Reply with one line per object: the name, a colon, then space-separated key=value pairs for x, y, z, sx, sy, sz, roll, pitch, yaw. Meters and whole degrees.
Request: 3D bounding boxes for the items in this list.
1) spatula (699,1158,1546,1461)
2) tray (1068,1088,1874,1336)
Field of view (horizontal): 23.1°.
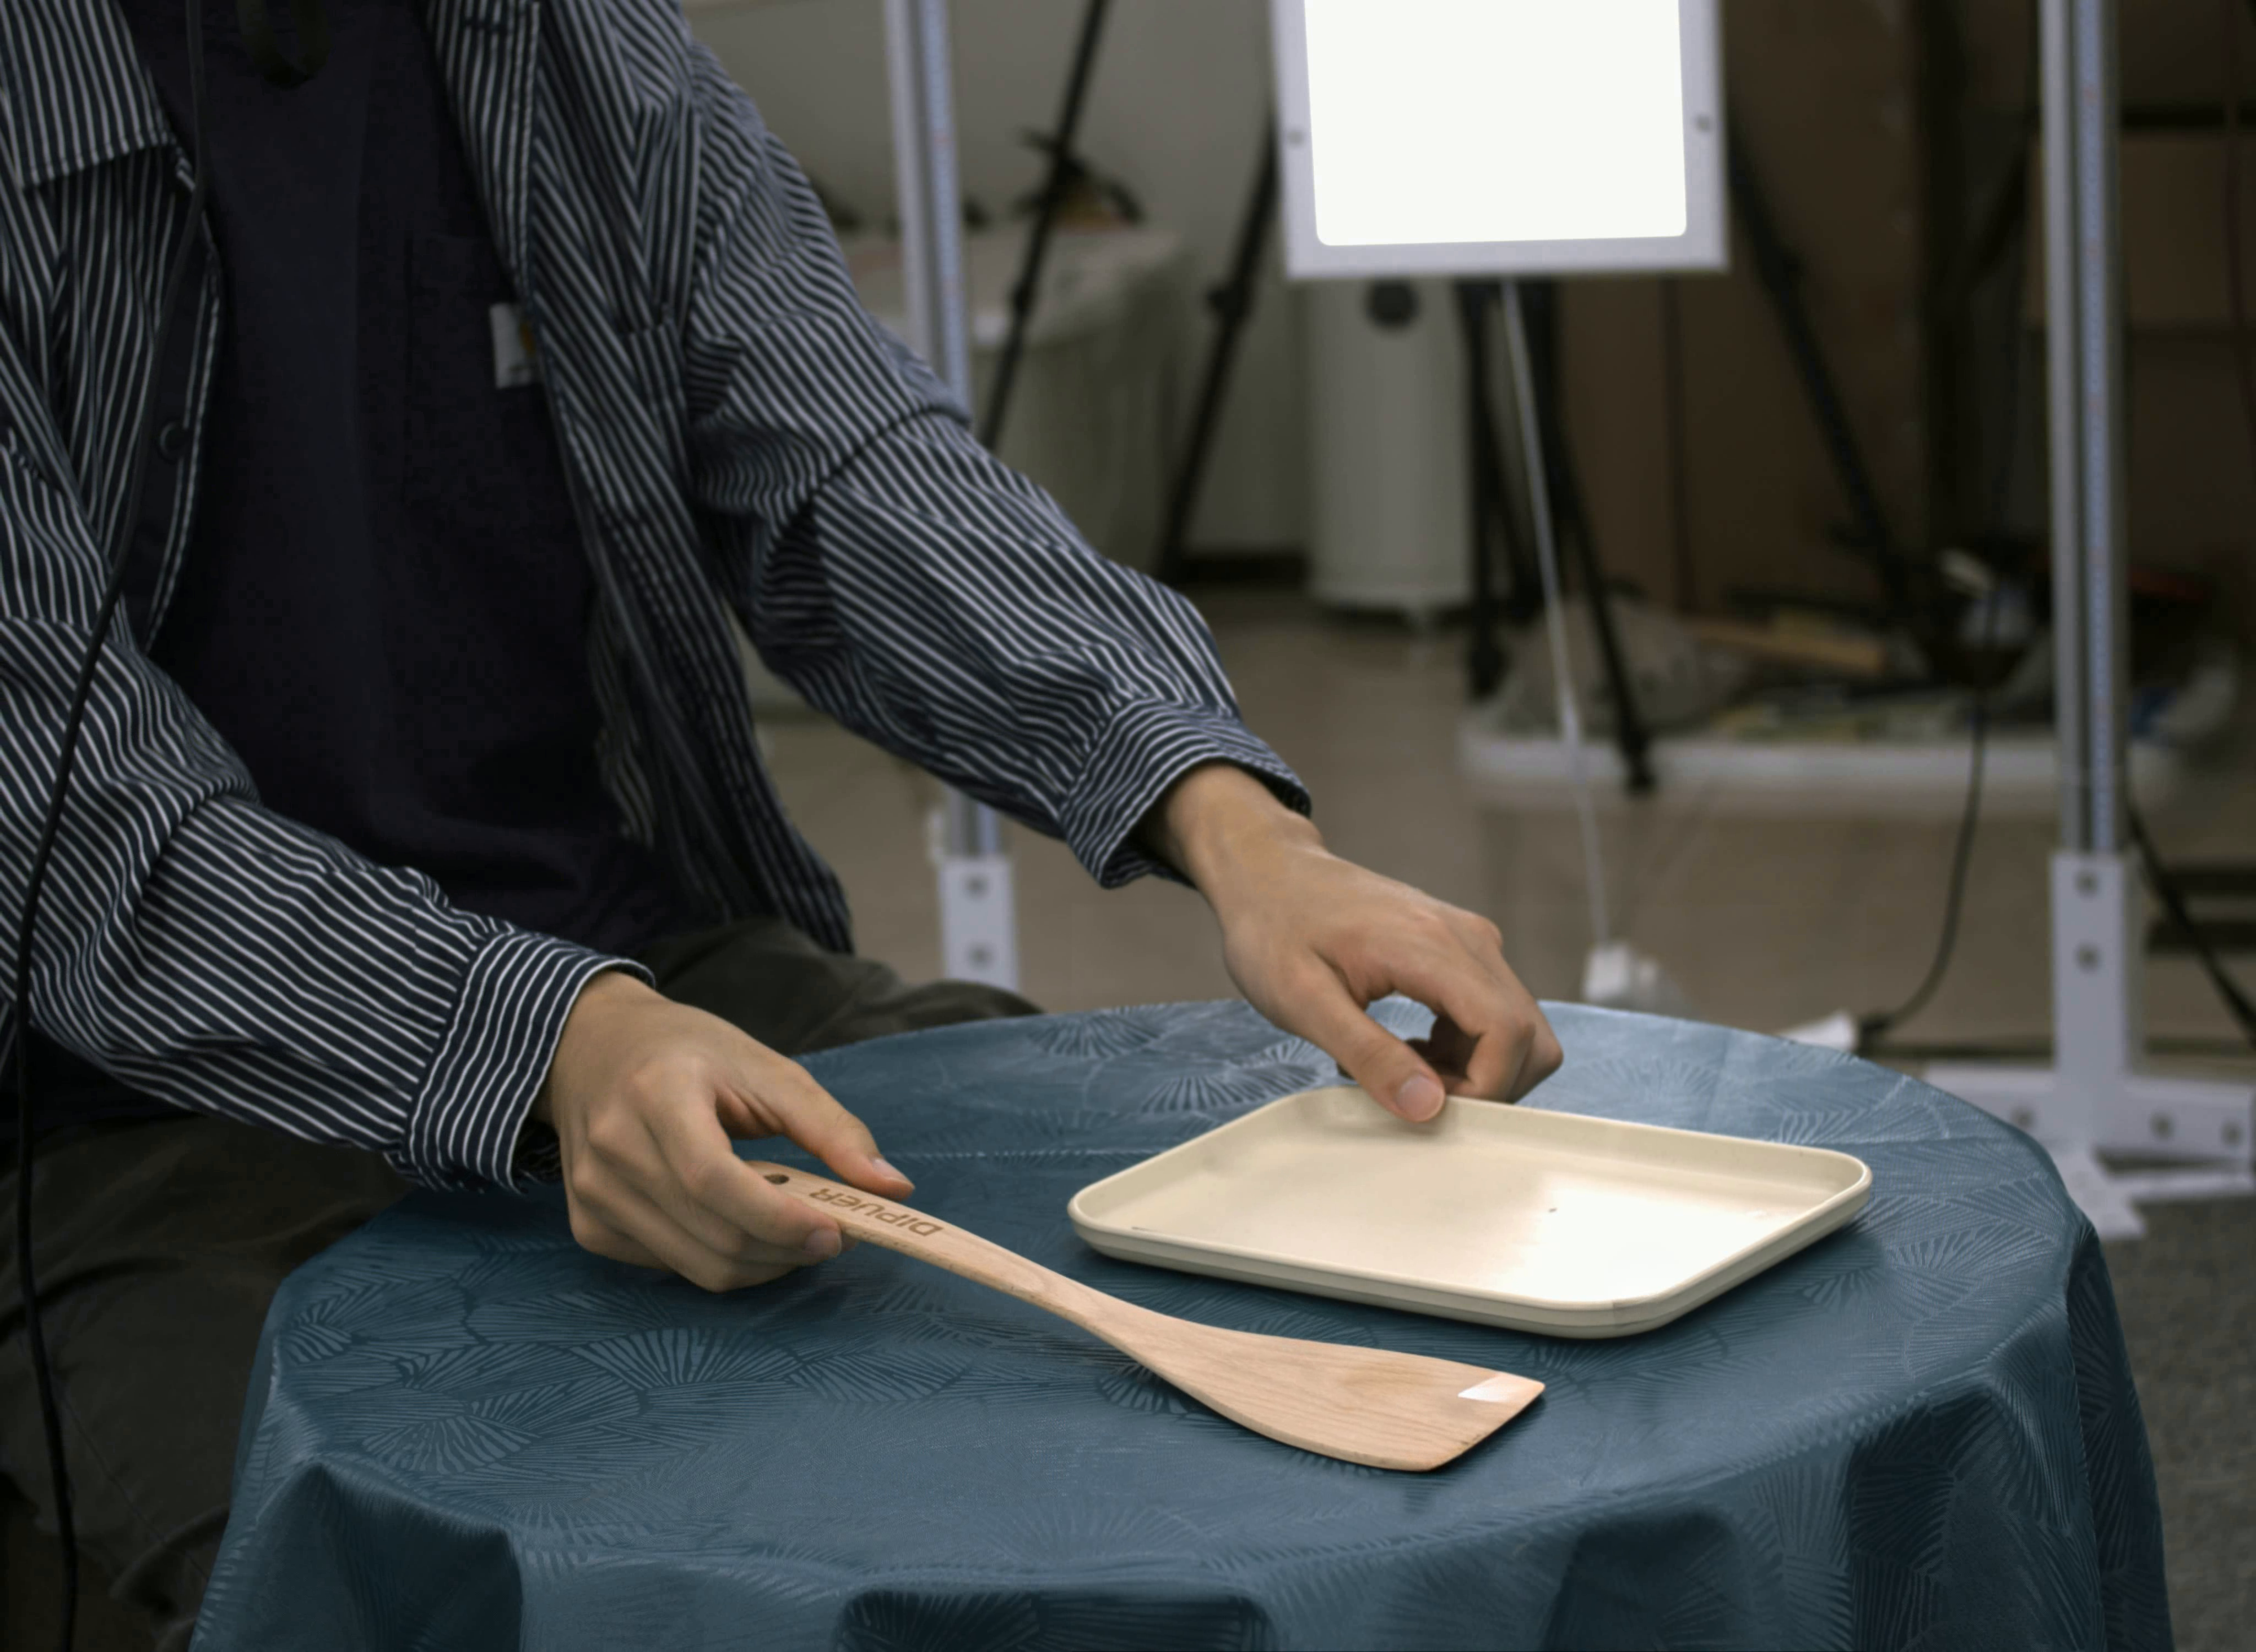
spatula: x=-0.011 y=0.146 z=1.735 sx=0.334 sy=0.016 sz=0.078 roll=16 pitch=23 yaw=38
tray: x=0.113 y=0.126 z=1.814 sx=0.245 sy=0.017 sz=0.167 roll=6 pitch=17 yaw=40
